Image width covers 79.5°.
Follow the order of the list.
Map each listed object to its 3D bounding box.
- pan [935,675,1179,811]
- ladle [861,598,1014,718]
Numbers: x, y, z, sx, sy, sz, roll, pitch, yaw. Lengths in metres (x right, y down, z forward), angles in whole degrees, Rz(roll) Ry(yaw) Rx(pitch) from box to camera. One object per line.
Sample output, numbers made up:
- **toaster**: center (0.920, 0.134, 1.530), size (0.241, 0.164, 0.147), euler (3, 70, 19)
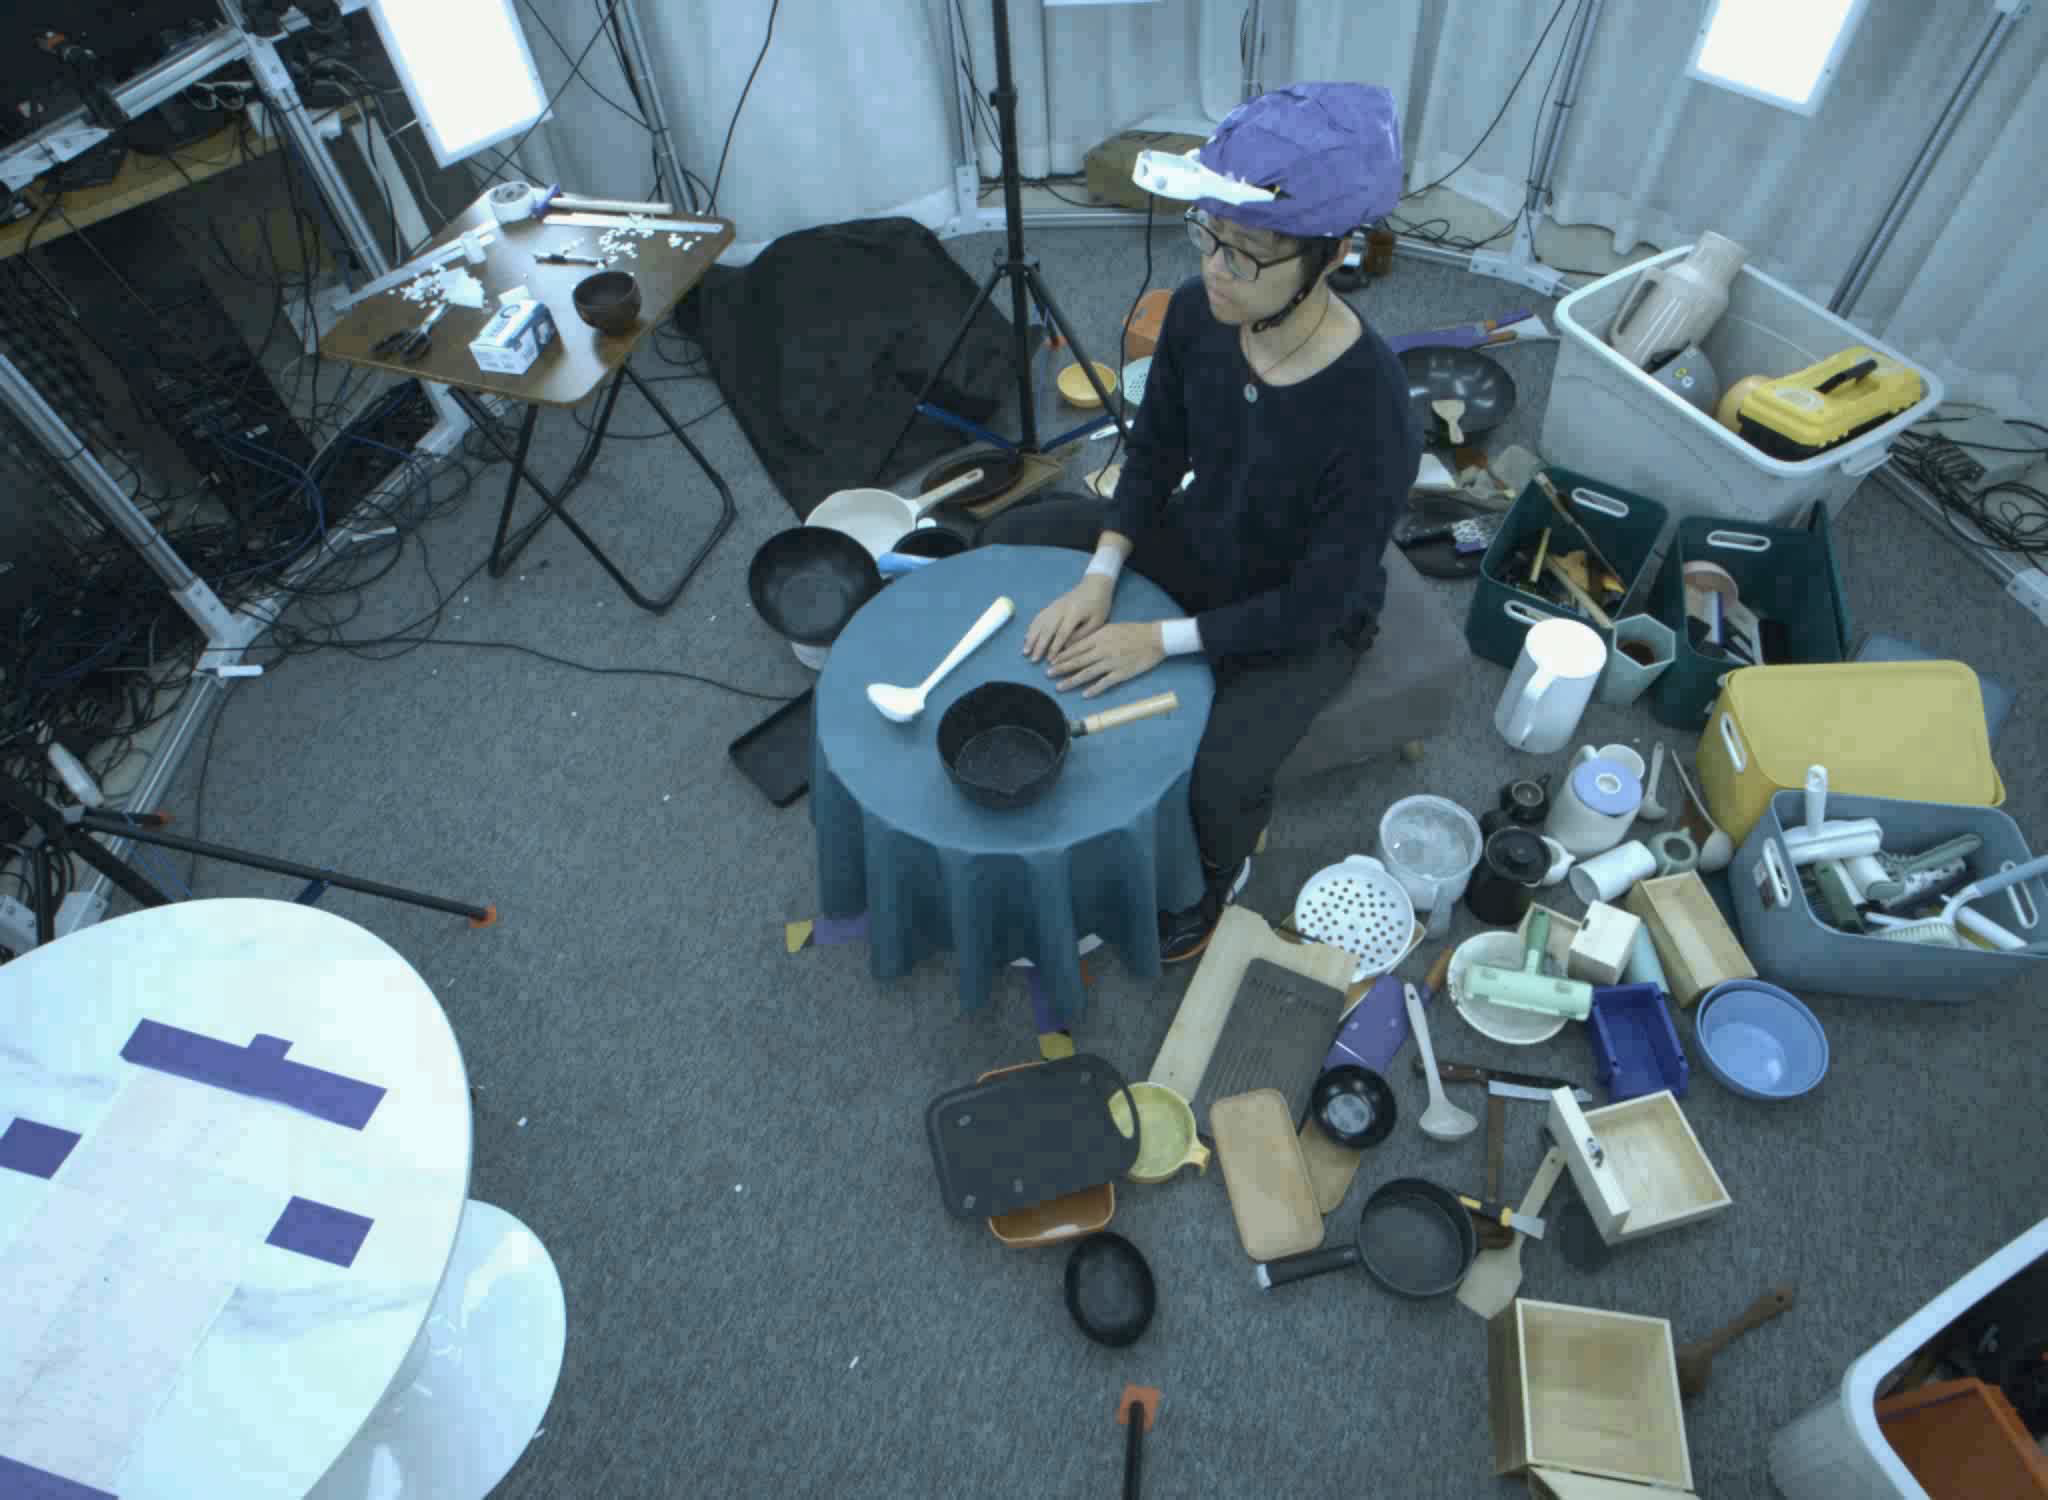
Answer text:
- **pan**: center (0.049, -0.020, 1.733), size (0.344, 0.109, 0.204), euler (-11, 54, -3)
- **ladle**: center (-0.123, -0.148, 1.857), size (0.088, 0.071, 0.295), euler (30, 60, 29)
